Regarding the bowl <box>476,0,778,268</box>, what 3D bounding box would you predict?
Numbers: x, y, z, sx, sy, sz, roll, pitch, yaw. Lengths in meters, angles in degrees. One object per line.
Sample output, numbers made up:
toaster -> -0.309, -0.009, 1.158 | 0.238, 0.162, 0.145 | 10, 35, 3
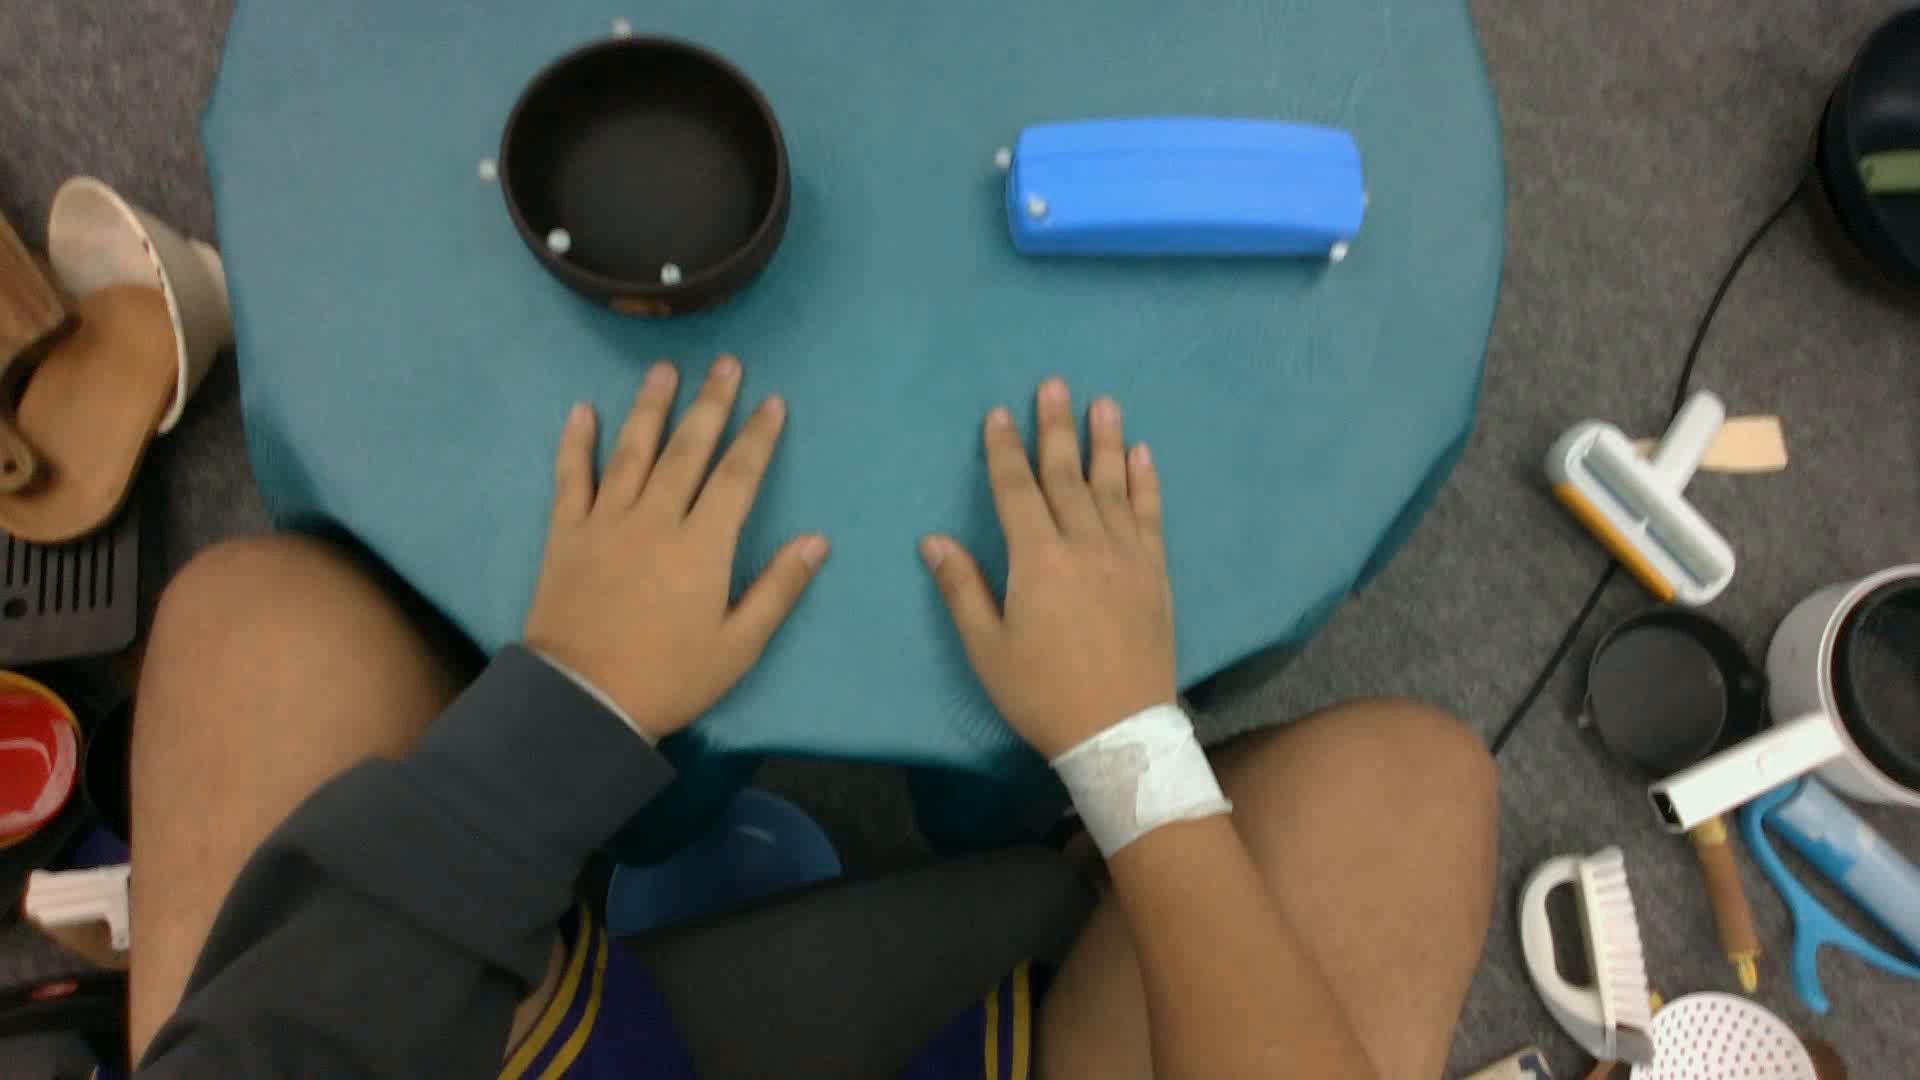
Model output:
bowl -> -0.134, -0.169, 0.573 | 0.118, 0.070, 0.118 | 1, 82, -7

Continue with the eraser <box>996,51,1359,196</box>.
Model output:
eraser -> 0.098, -0.186, 0.615 | 0.162, 0.047, 0.054 | -2, 80, -6
